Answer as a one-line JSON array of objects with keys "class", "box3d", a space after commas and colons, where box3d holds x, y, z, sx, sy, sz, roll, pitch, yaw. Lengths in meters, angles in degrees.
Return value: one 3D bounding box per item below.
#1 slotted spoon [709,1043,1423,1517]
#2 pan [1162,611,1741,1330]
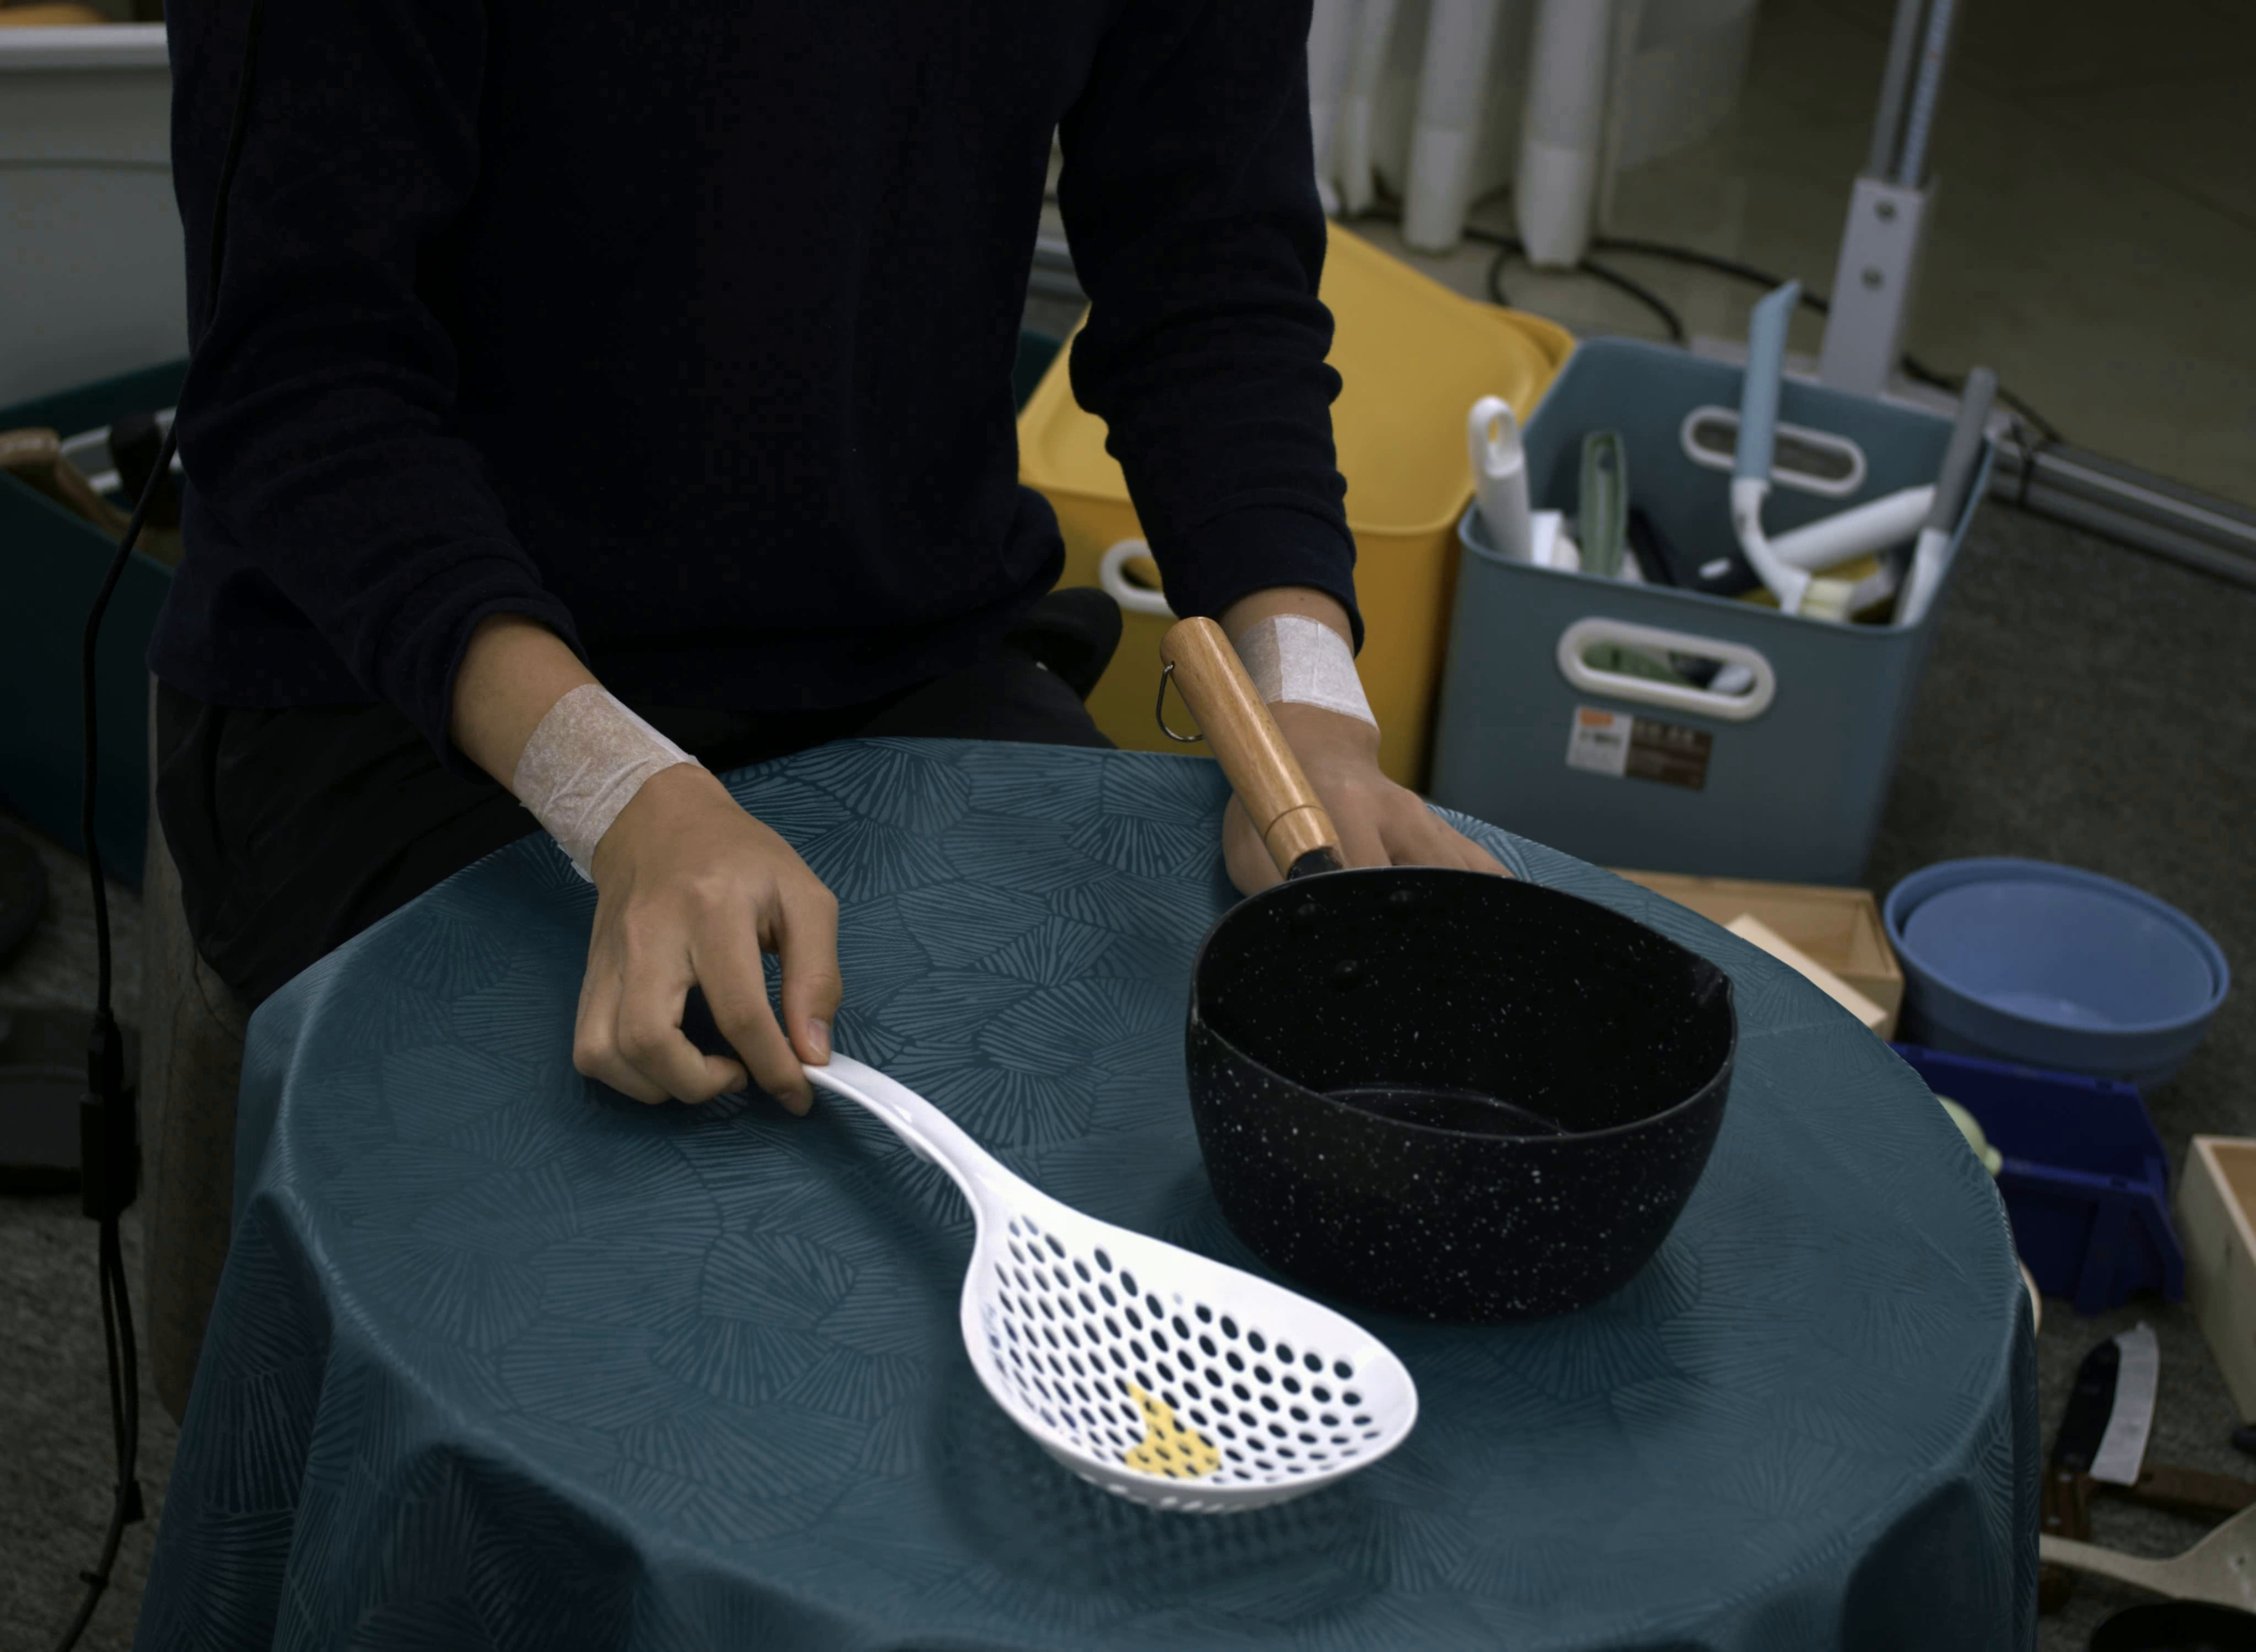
[{"class": "slotted spoon", "box3d": [-0.039, 0.135, 1.725, 0.136, 0.050, 0.351, -9, 32, -32]}, {"class": "pan", "box3d": [0.079, 0.047, 1.852, 0.206, 0.108, 0.346, -7, 31, -22]}]
